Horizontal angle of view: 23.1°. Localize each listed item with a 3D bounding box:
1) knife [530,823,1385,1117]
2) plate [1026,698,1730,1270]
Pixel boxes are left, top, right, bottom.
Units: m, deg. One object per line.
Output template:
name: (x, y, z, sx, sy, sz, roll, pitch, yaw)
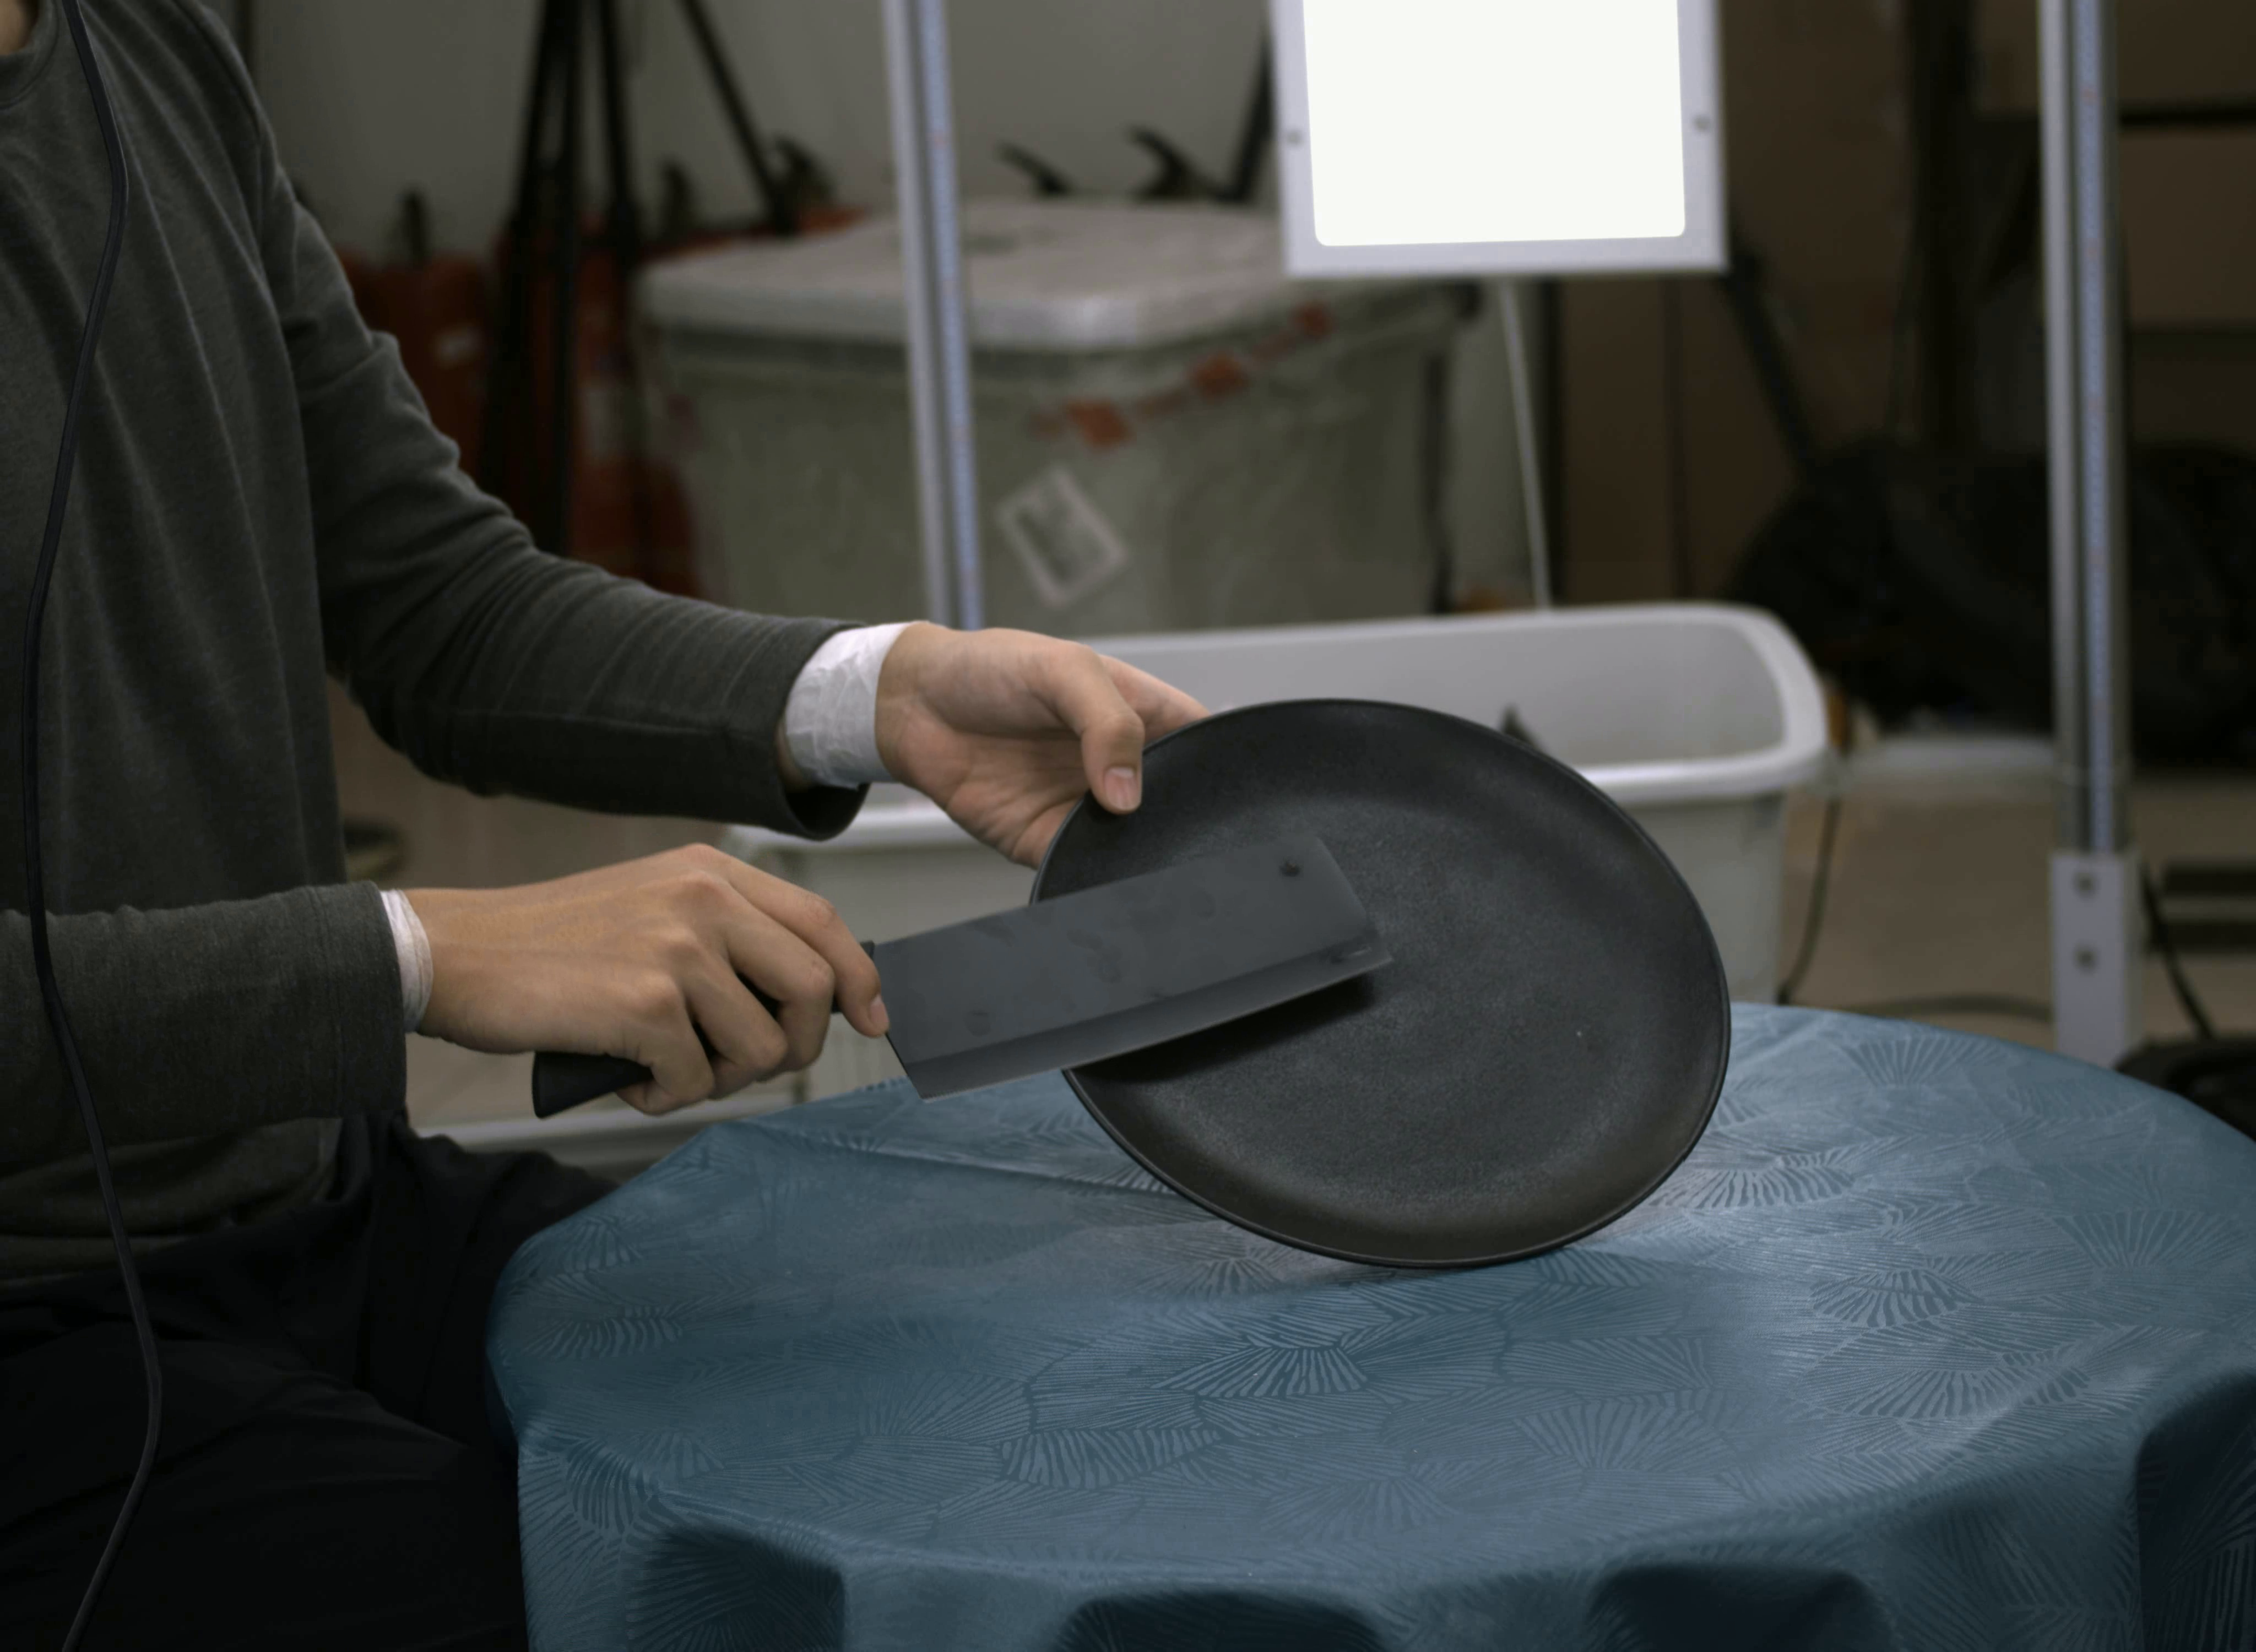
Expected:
knife: (-0.057, 0.055, 1.833, 0.297, 0.021, 0.081, -11, 53, -18)
plate: (0.084, 0.055, 1.867, 0.242, 0.023, 0.244, 4, 51, -6)
